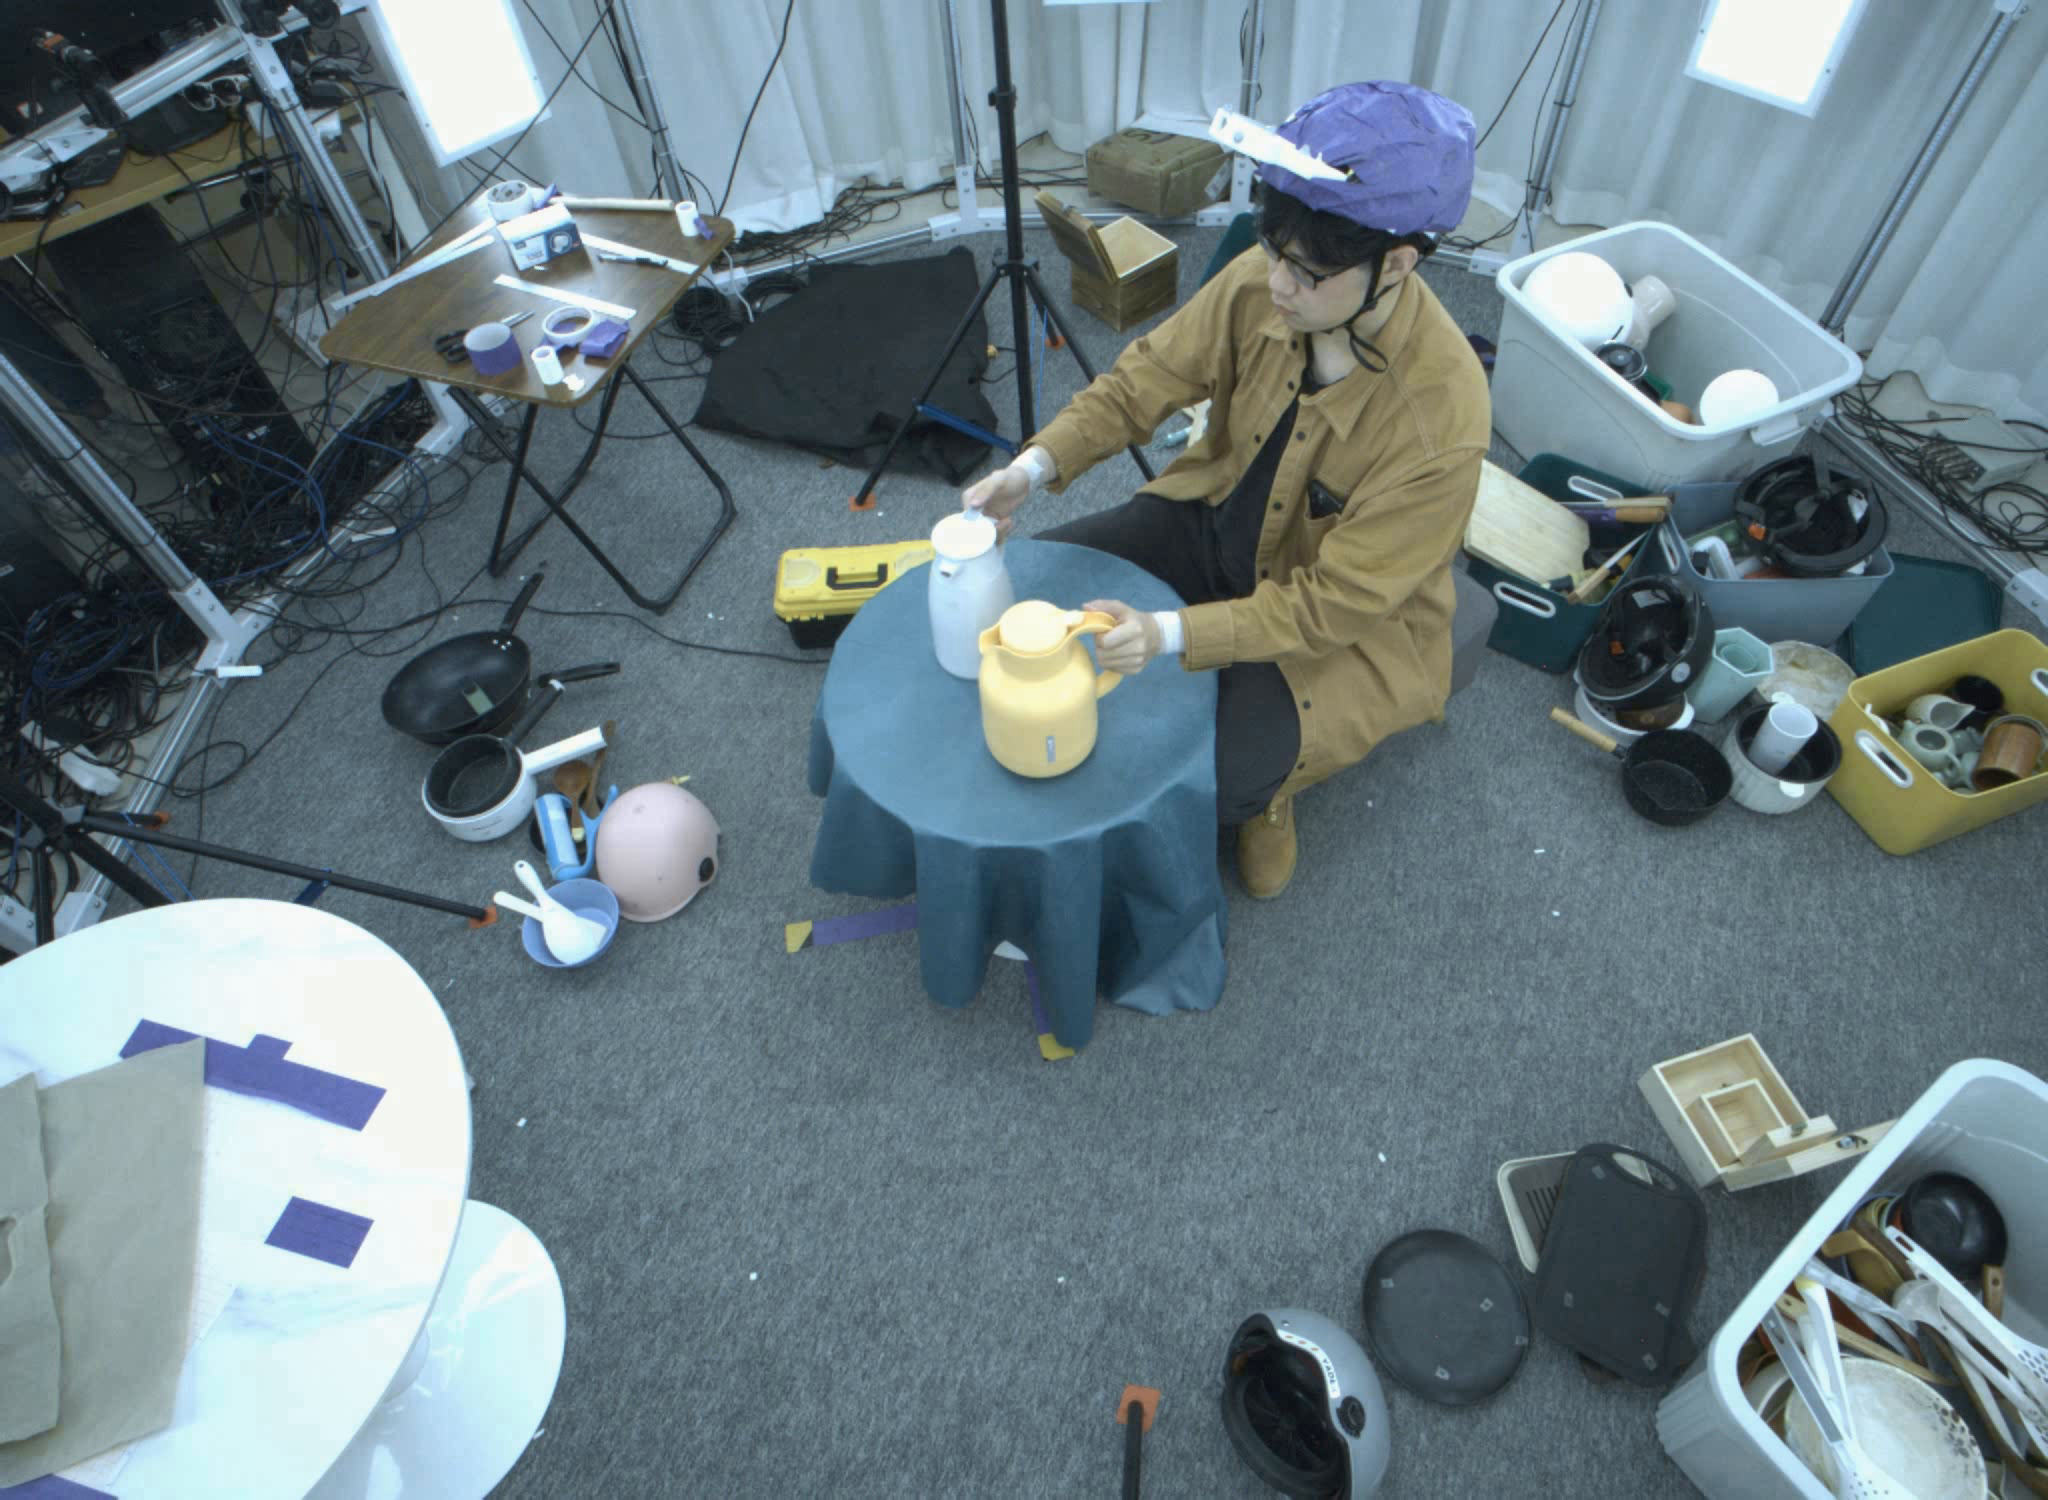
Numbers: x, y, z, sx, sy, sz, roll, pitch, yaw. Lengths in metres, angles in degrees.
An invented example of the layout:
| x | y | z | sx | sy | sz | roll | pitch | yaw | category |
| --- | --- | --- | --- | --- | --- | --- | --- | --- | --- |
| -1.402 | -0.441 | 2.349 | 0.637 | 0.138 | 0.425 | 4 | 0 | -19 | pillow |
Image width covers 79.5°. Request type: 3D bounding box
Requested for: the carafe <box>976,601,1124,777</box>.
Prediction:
| x | y | z | sx | sy | sz | roll | pitch | yaw | category |
| --- | --- | --- | --- | --- | --- | --- | --- | --- | --- |
| 0.038 | -0.091 | 1.687 | 0.203 | 0.263 | 0.161 | -12 | 56 | -4 | carafe |

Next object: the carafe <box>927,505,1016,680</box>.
| x | y | z | sx | sy | sz | roll | pitch | yaw | category |
| --- | --- | --- | --- | --- | --- | --- | --- | --- | --- |
| -0.073 | -0.246 | 1.808 | 0.131 | 0.251 | 0.168 | 18 | 56 | 15 | carafe |
